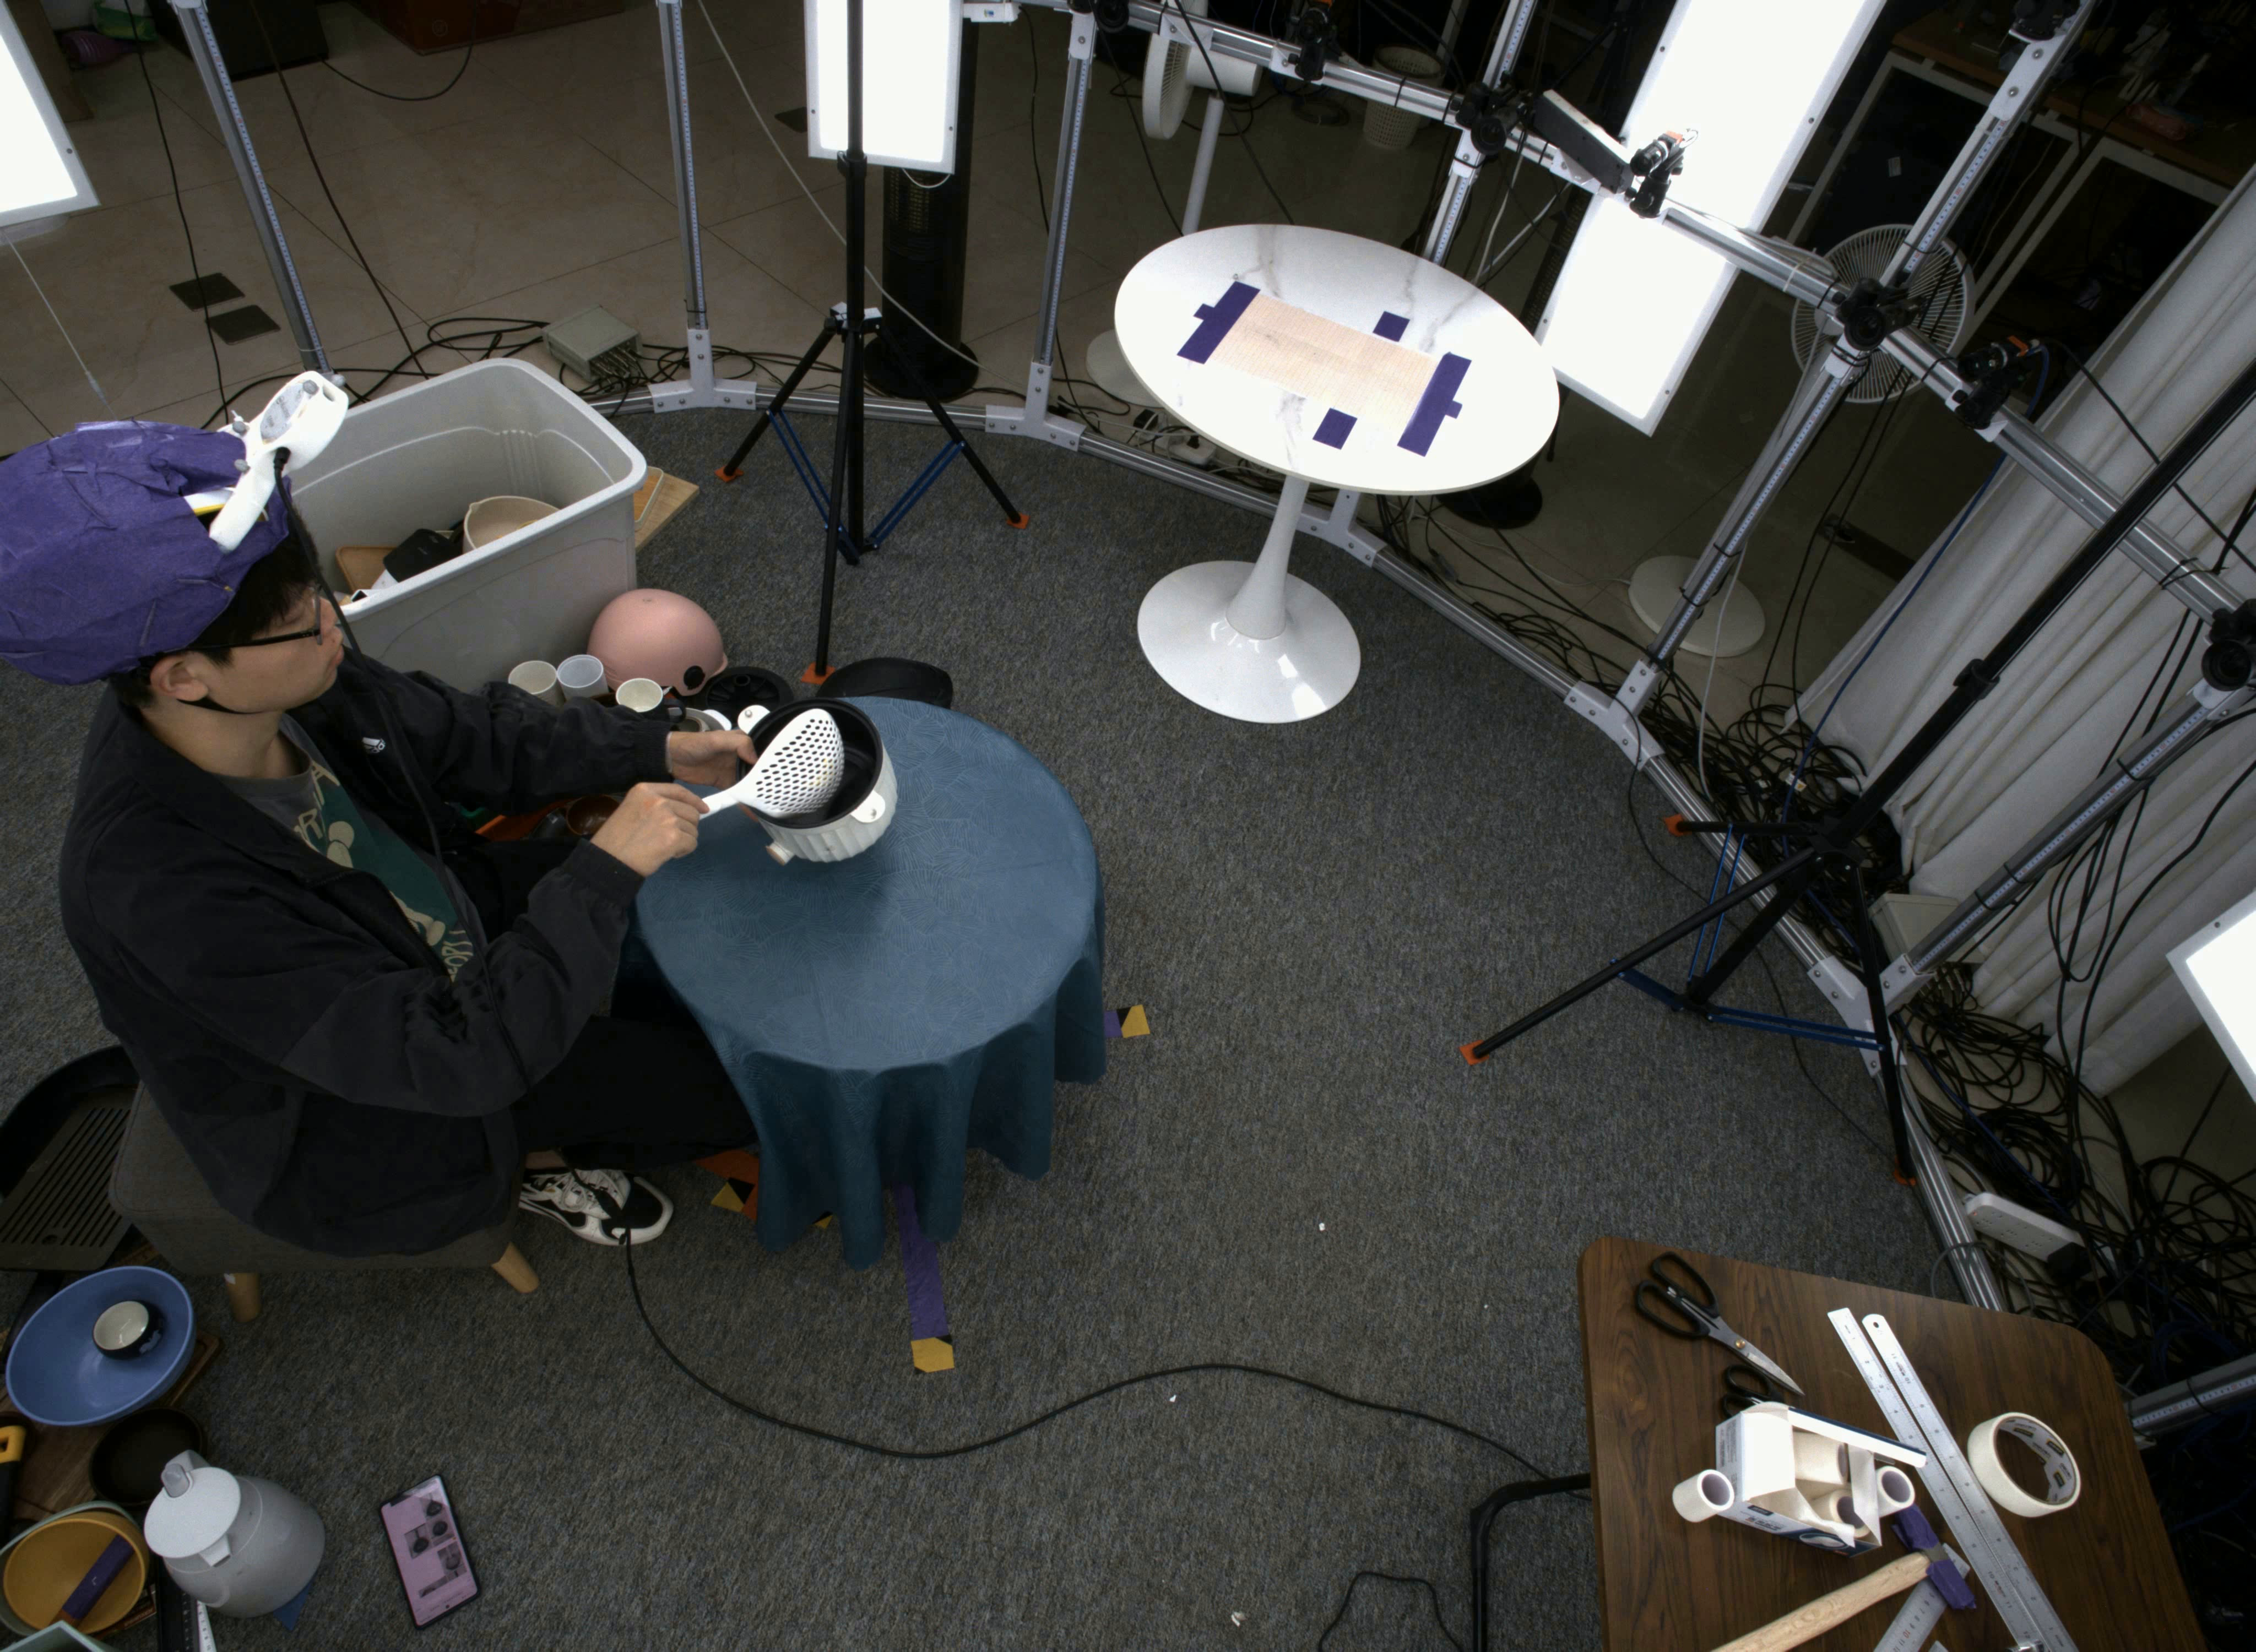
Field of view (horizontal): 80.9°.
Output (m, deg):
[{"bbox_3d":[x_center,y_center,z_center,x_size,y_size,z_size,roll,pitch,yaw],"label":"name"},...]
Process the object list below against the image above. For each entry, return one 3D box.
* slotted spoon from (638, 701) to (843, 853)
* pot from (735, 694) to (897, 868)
[{"bbox_3d":[-0.434,-0.038,1.472,0.048,0.141,0.349,20,30,26],"label":"slotted spoon"},{"bbox_3d":[-0.384,-0.046,1.616,0.234,0.146,0.190,34,67,17],"label":"pot"}]
